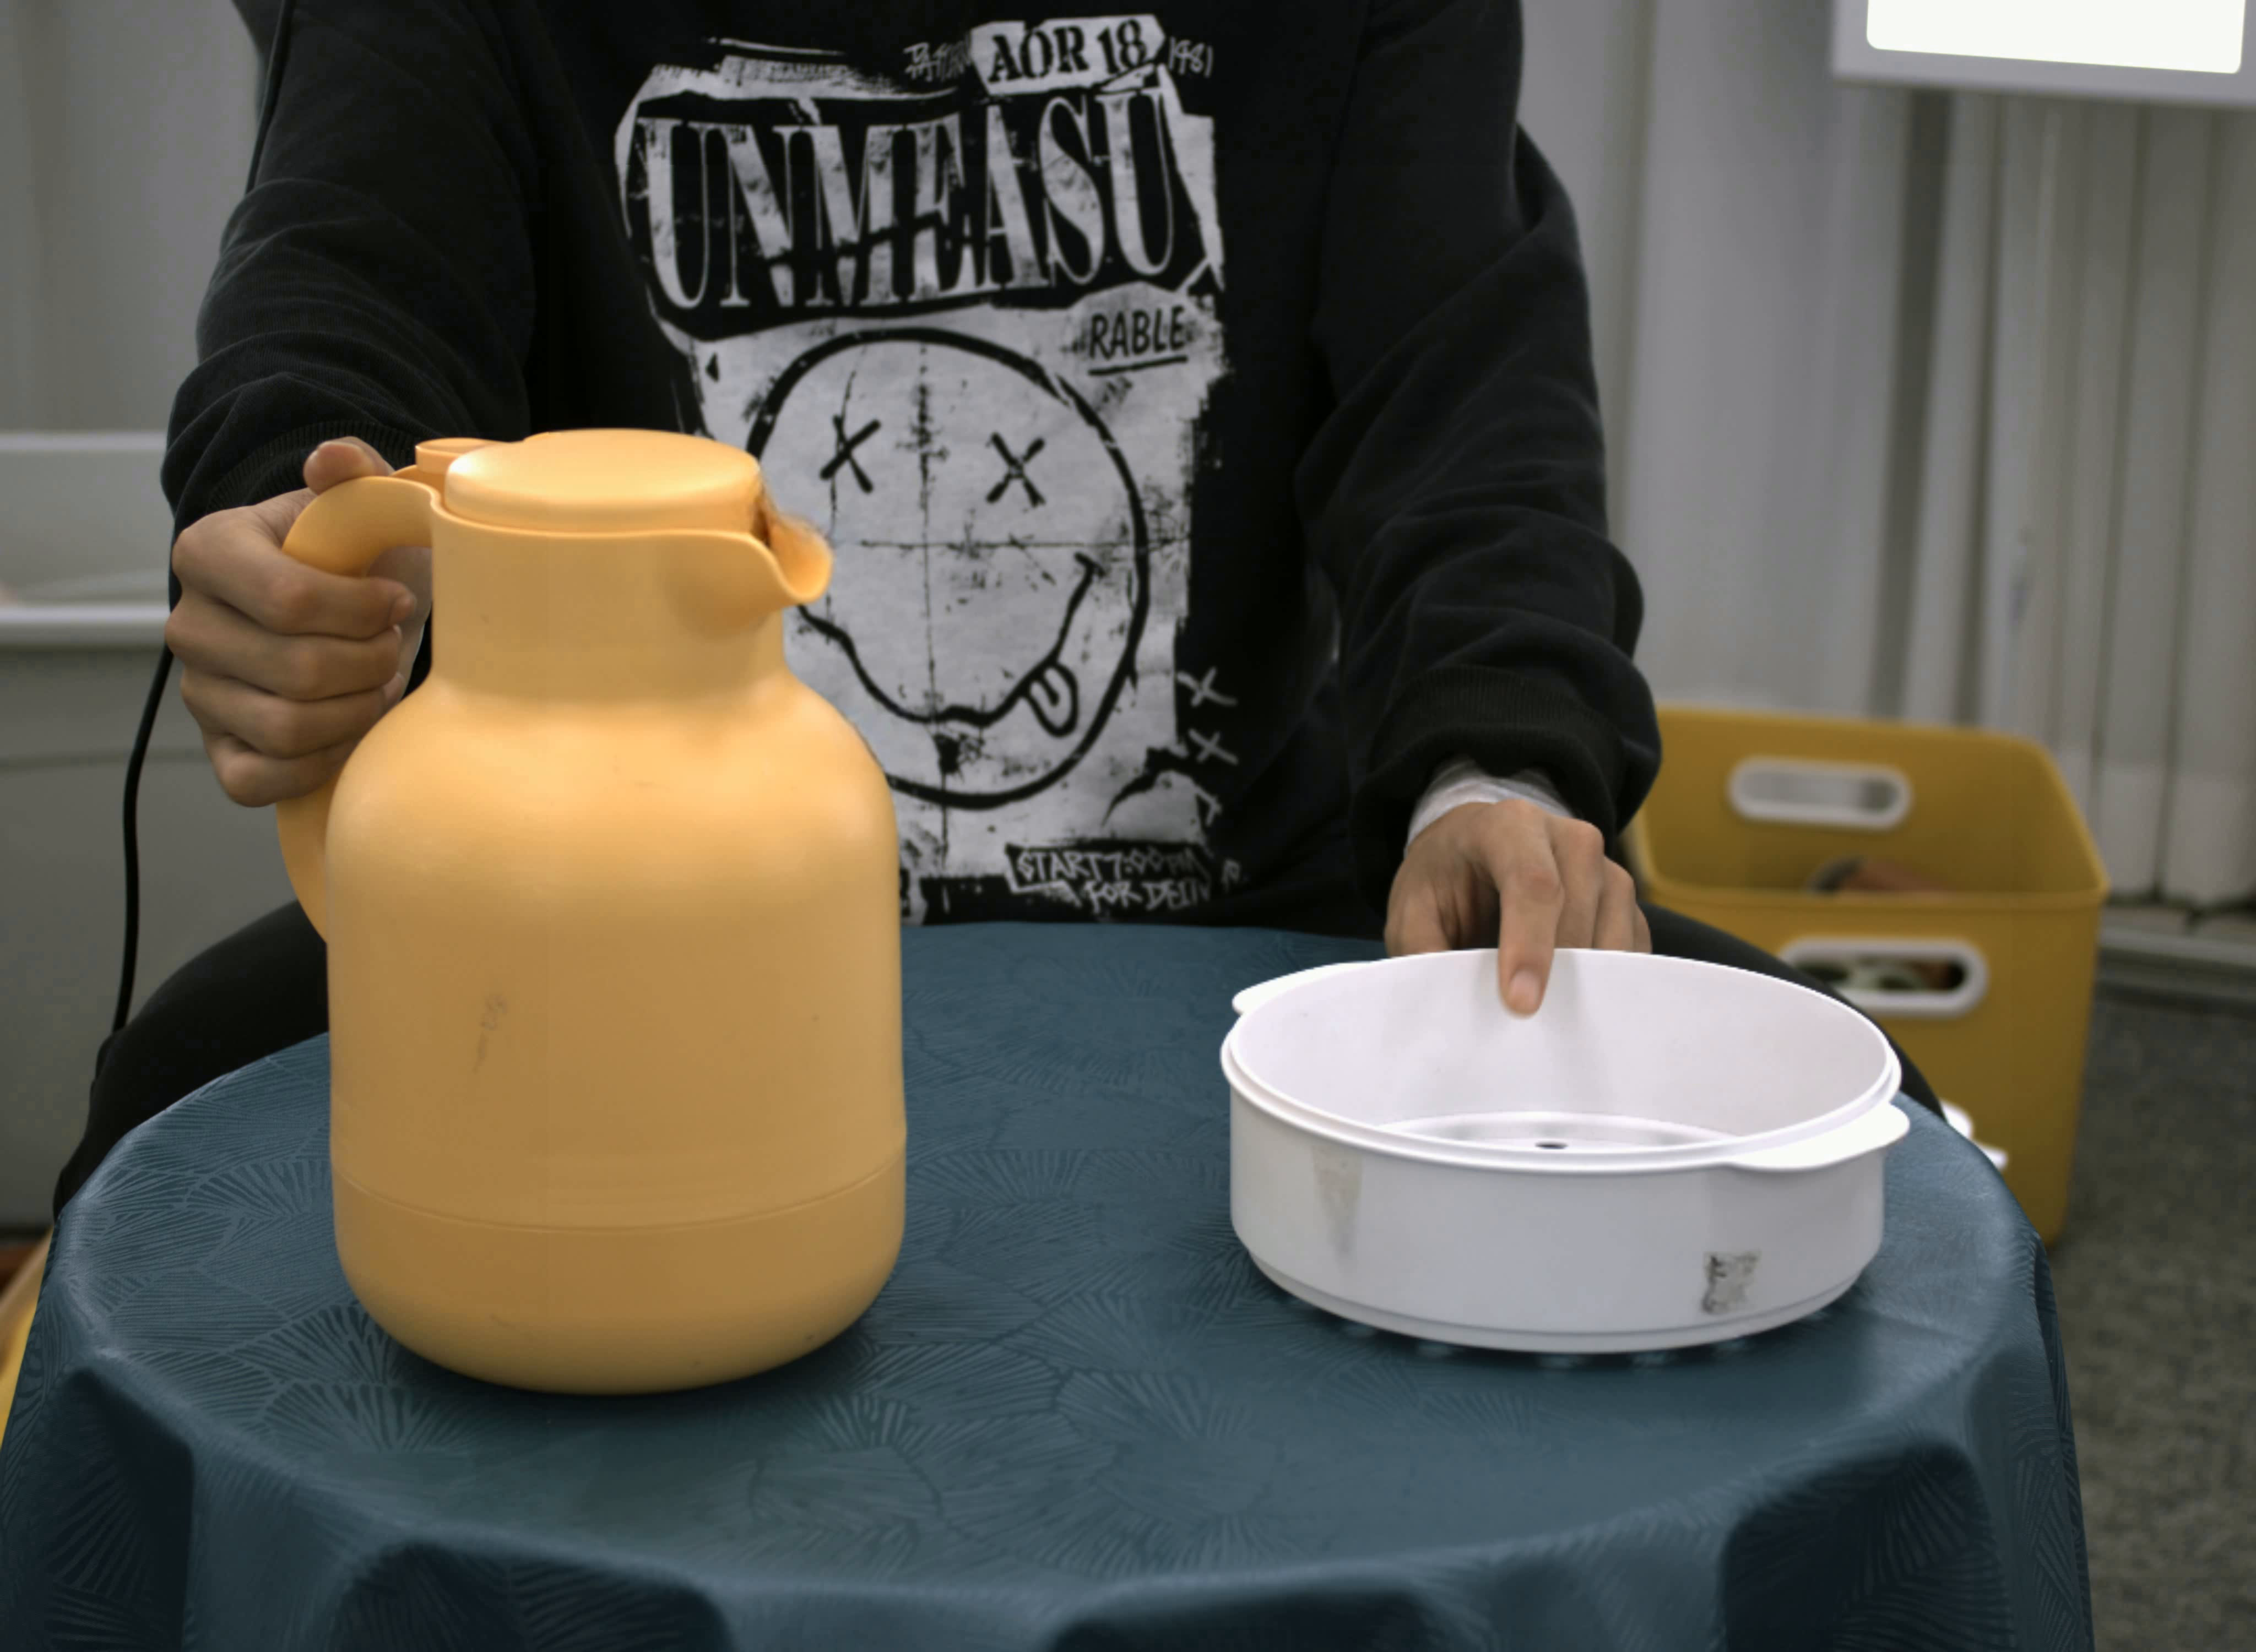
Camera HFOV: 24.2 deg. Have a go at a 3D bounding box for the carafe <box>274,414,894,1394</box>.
[{"bbox_3d":[-0.160,0.014,1.480,0.200,0.262,0.164,14,19,36],"label":"carafe"}]

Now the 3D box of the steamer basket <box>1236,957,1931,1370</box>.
[{"bbox_3d":[0.132,0.099,1.557,0.227,0.070,0.203,16,23,42],"label":"steamer basket"}]
